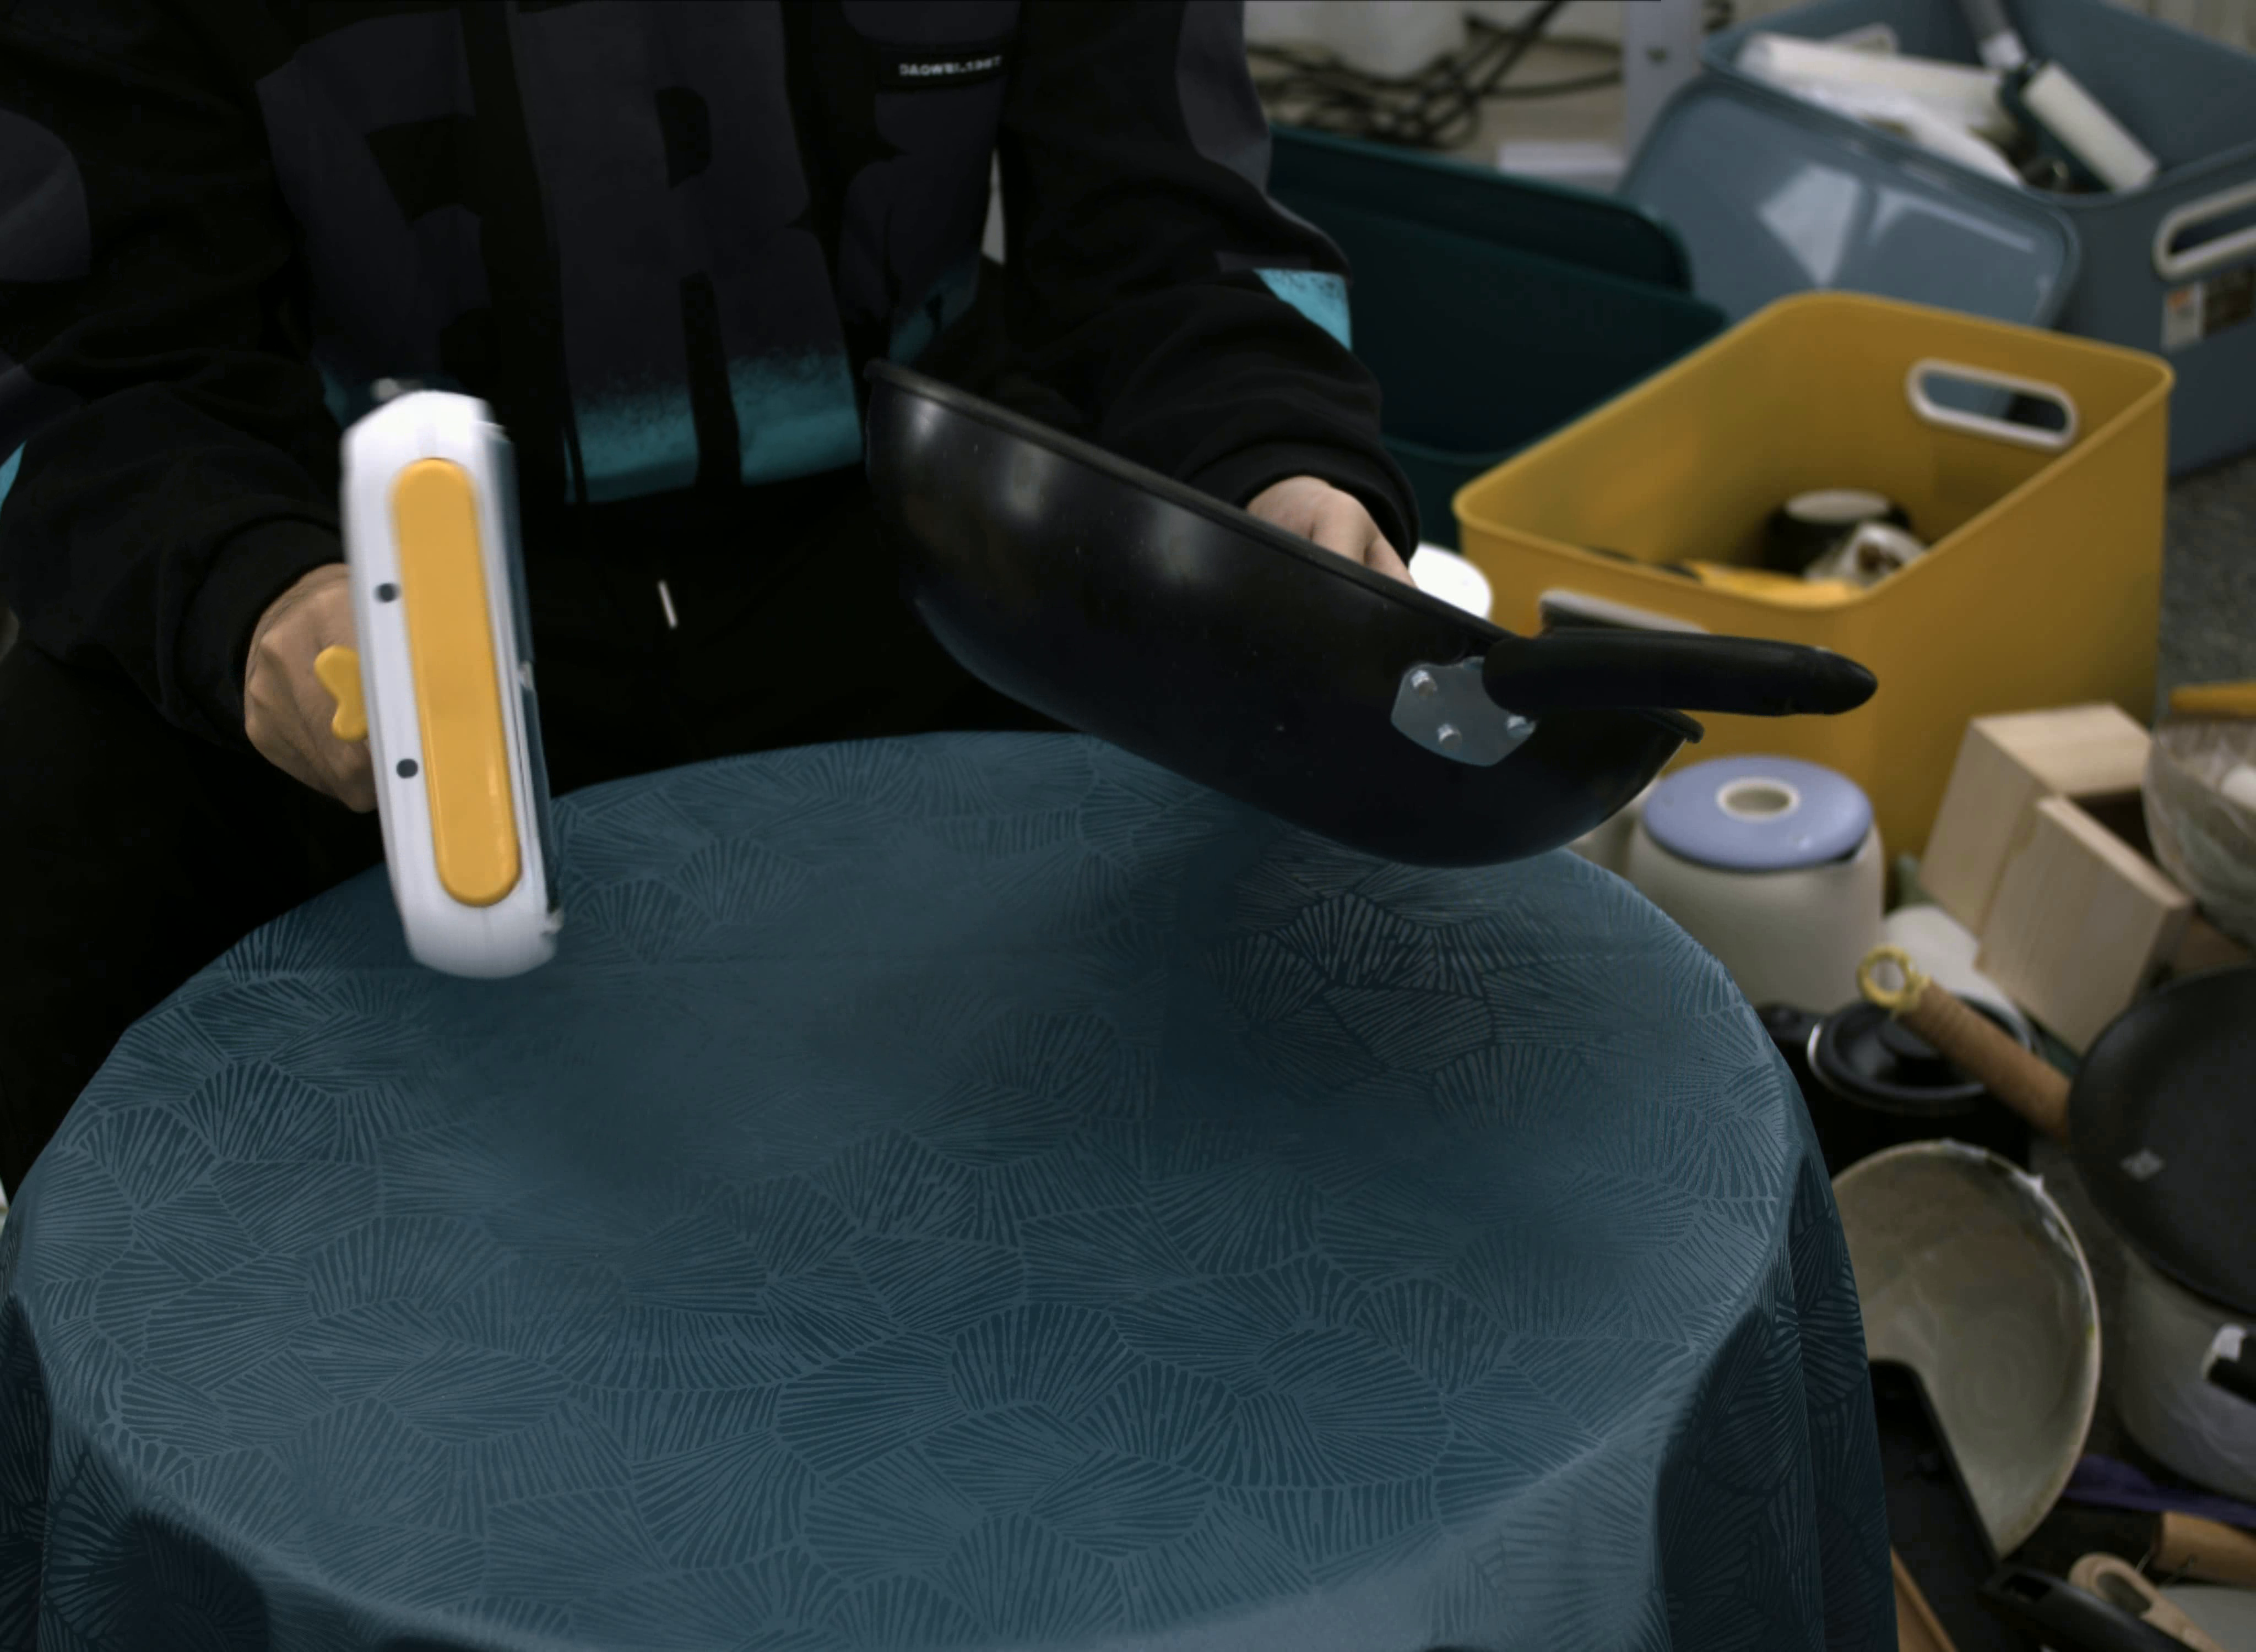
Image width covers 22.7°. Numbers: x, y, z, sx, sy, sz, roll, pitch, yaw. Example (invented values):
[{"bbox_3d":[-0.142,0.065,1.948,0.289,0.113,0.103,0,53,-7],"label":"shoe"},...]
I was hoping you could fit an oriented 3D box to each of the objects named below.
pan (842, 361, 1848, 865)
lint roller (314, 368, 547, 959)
[{"bbox_3d":[0.074,-0.050,1.830,0.309,0.112,0.477,22,2,-30],"label":"pan"},{"bbox_3d":[-0.237,-0.045,1.896,0.074,0.194,0.191,-8,-6,-11],"label":"lint roller"}]
